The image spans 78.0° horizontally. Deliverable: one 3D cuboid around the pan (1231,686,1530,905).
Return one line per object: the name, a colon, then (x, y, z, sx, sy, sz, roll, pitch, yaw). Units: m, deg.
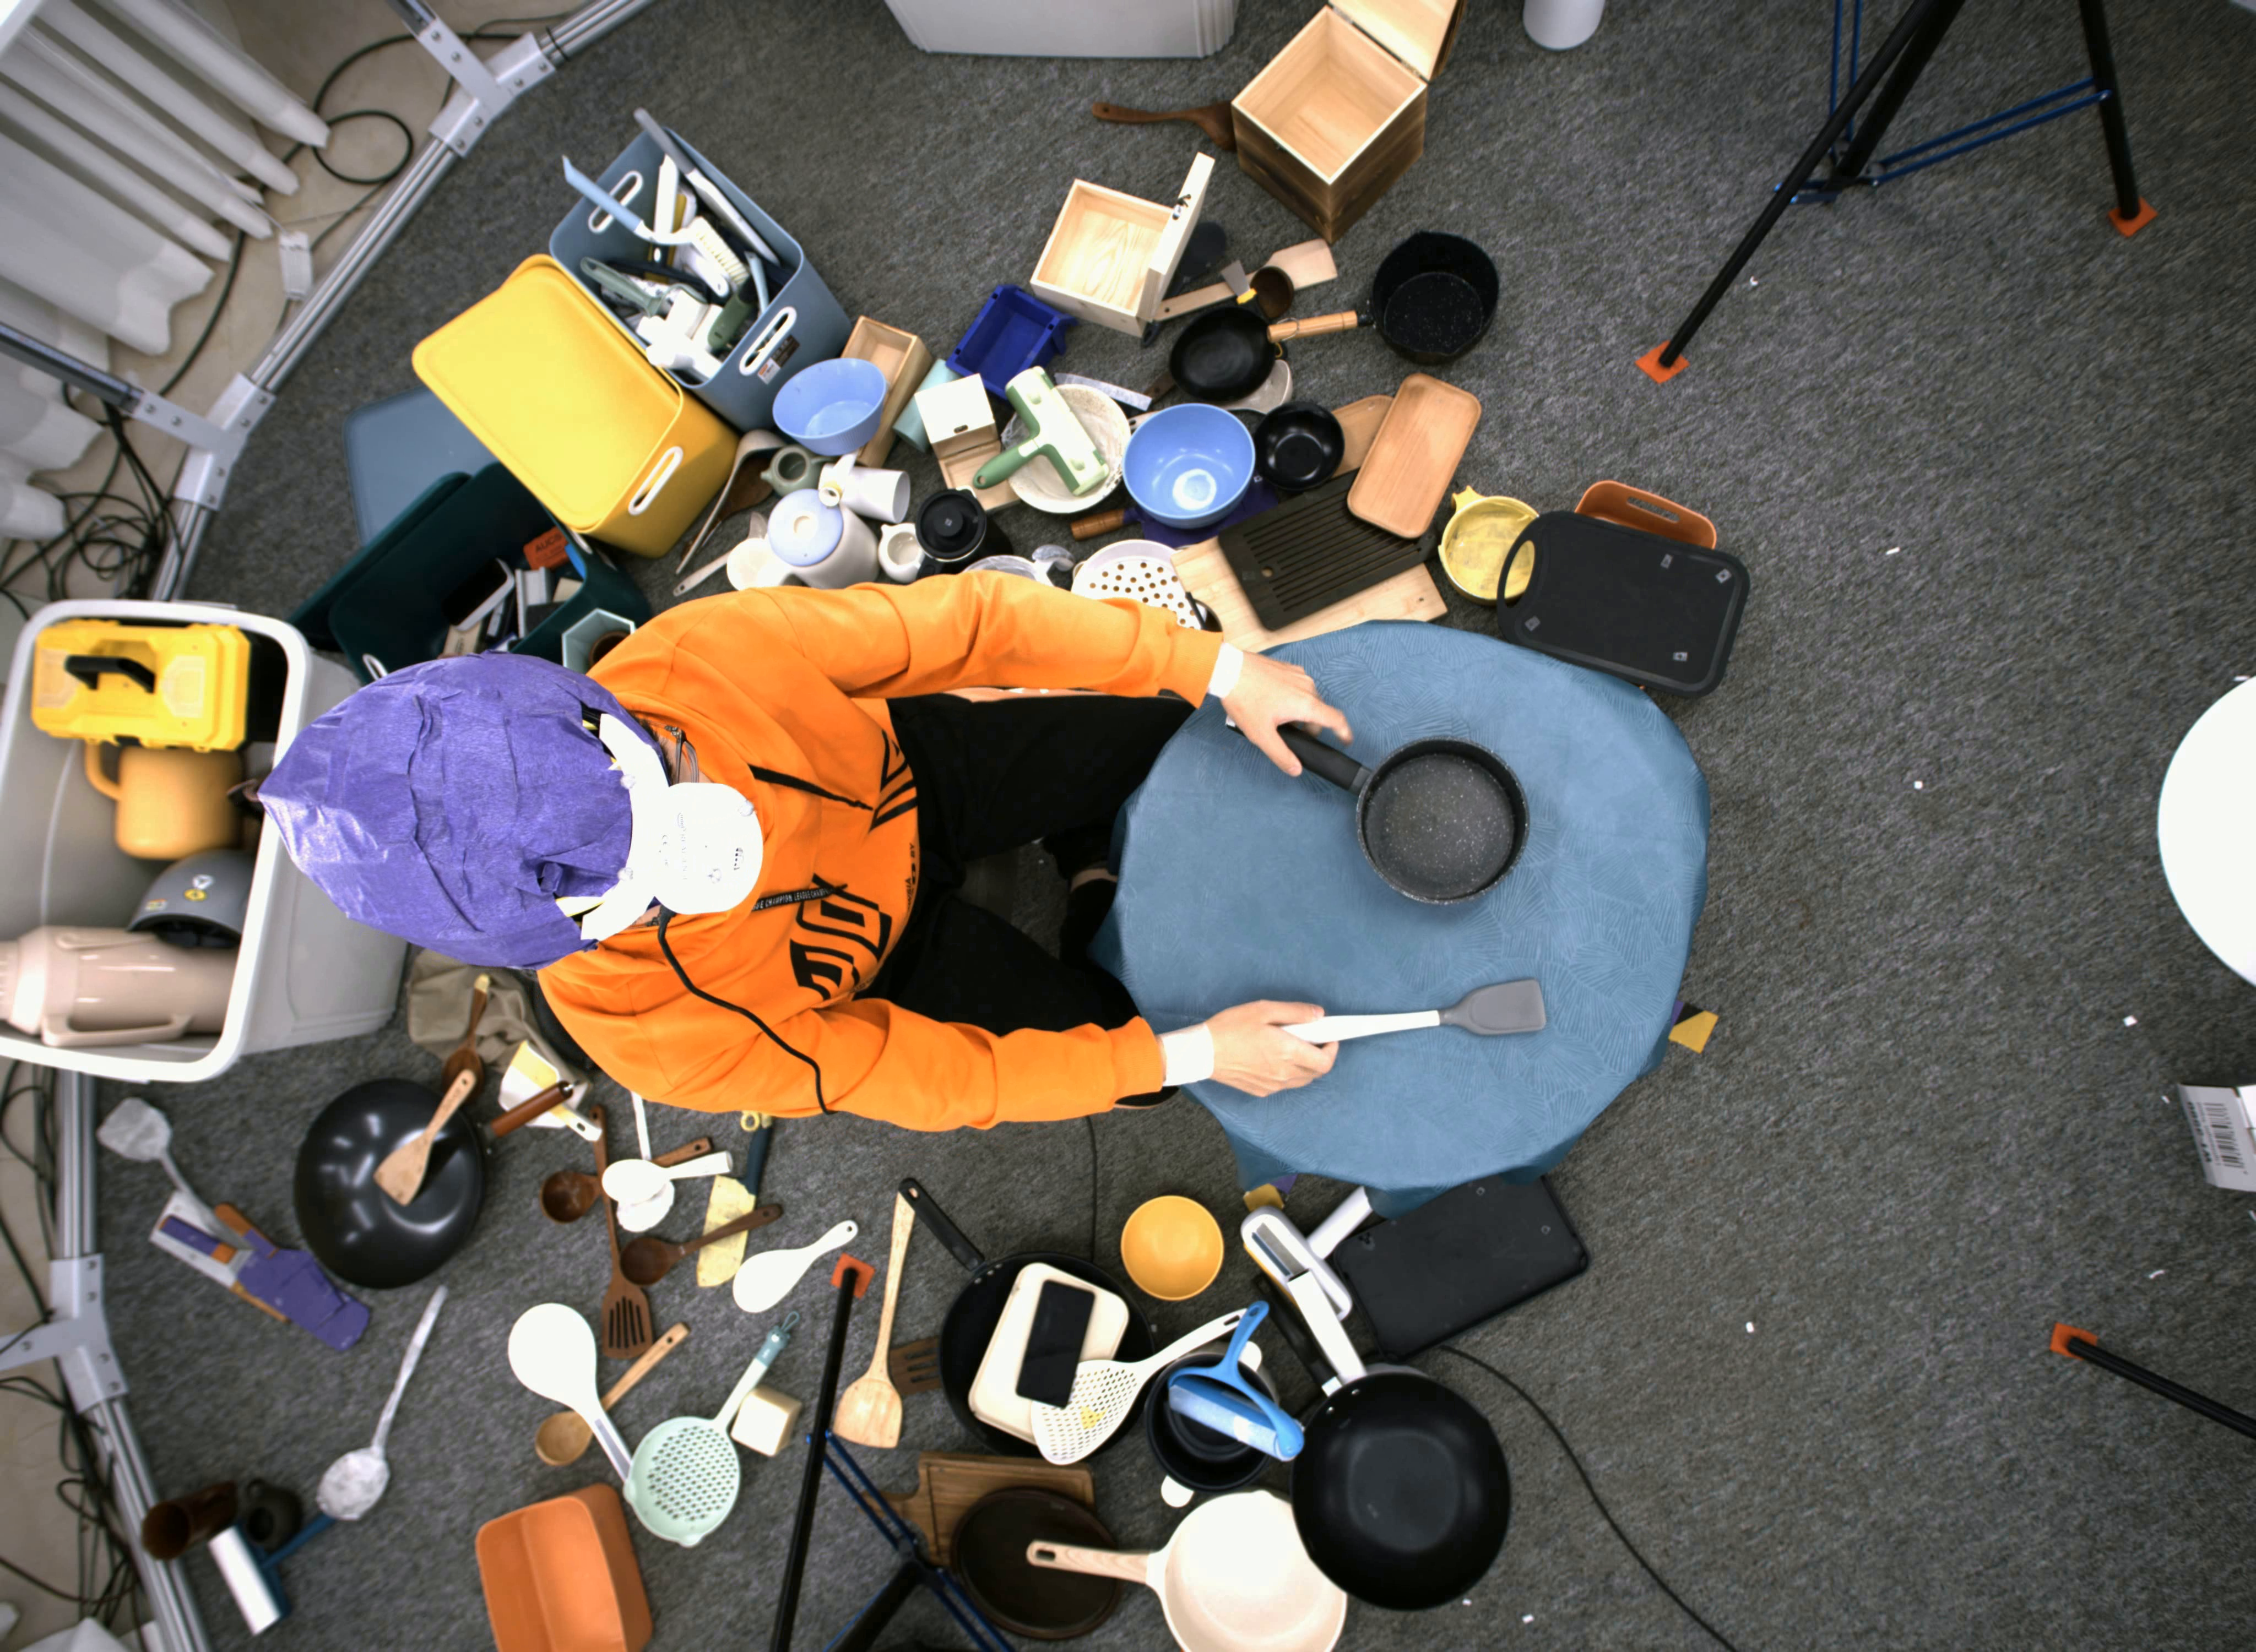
pan: (0.254, -0.044, 1.427, 0.328, 0.086, 0.172, 31, 91, 9)

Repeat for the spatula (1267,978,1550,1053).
spatula: (0.288, 0.200, 1.428, 0.288, 0.032, 0.057, -8, 70, 4)
